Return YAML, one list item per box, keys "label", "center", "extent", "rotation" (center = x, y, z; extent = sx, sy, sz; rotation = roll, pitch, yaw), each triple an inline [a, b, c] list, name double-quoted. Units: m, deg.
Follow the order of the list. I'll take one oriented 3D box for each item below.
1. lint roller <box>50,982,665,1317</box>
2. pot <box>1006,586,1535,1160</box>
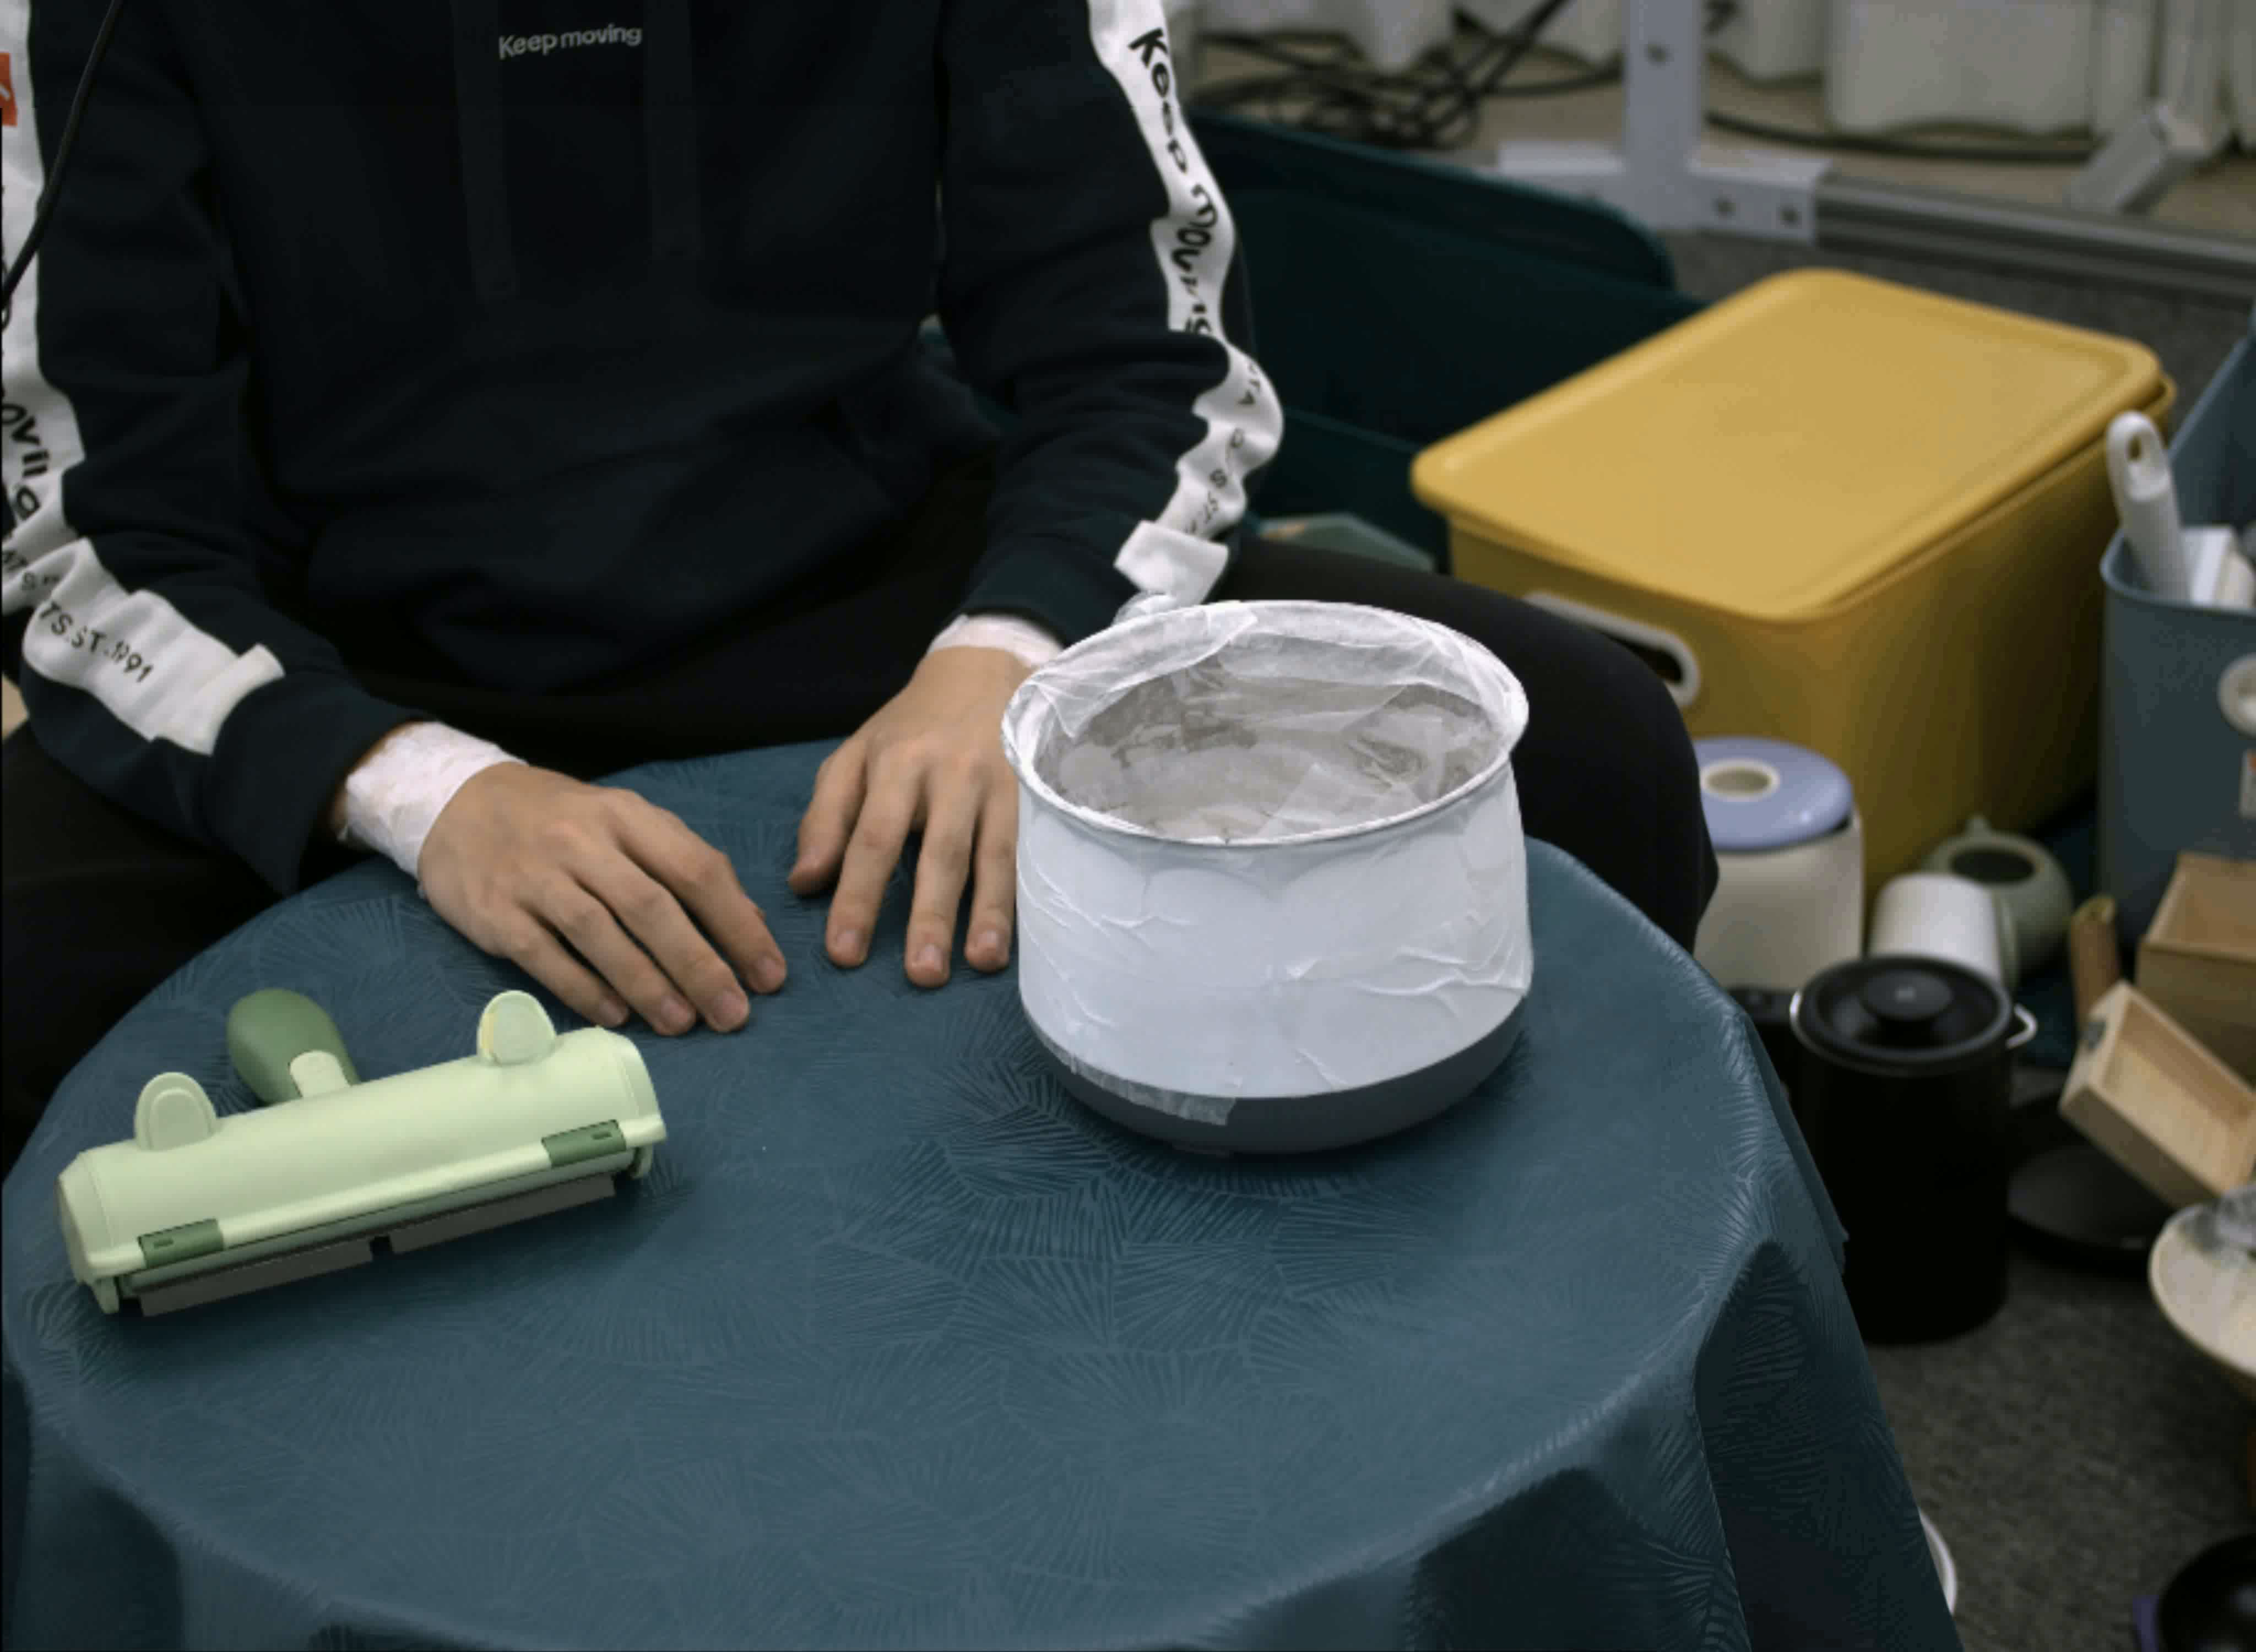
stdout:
- label: "lint roller"
  center: [-0.273, 0.081, 1.886]
  extent: [0.199, 0.081, 0.185]
  rotation: [-13, 34, -19]
- label: "pot"
  center: [0.039, 0.008, 1.928]
  extent: [0.179, 0.135, 0.235]
  rotation: [-13, 29, -19]
